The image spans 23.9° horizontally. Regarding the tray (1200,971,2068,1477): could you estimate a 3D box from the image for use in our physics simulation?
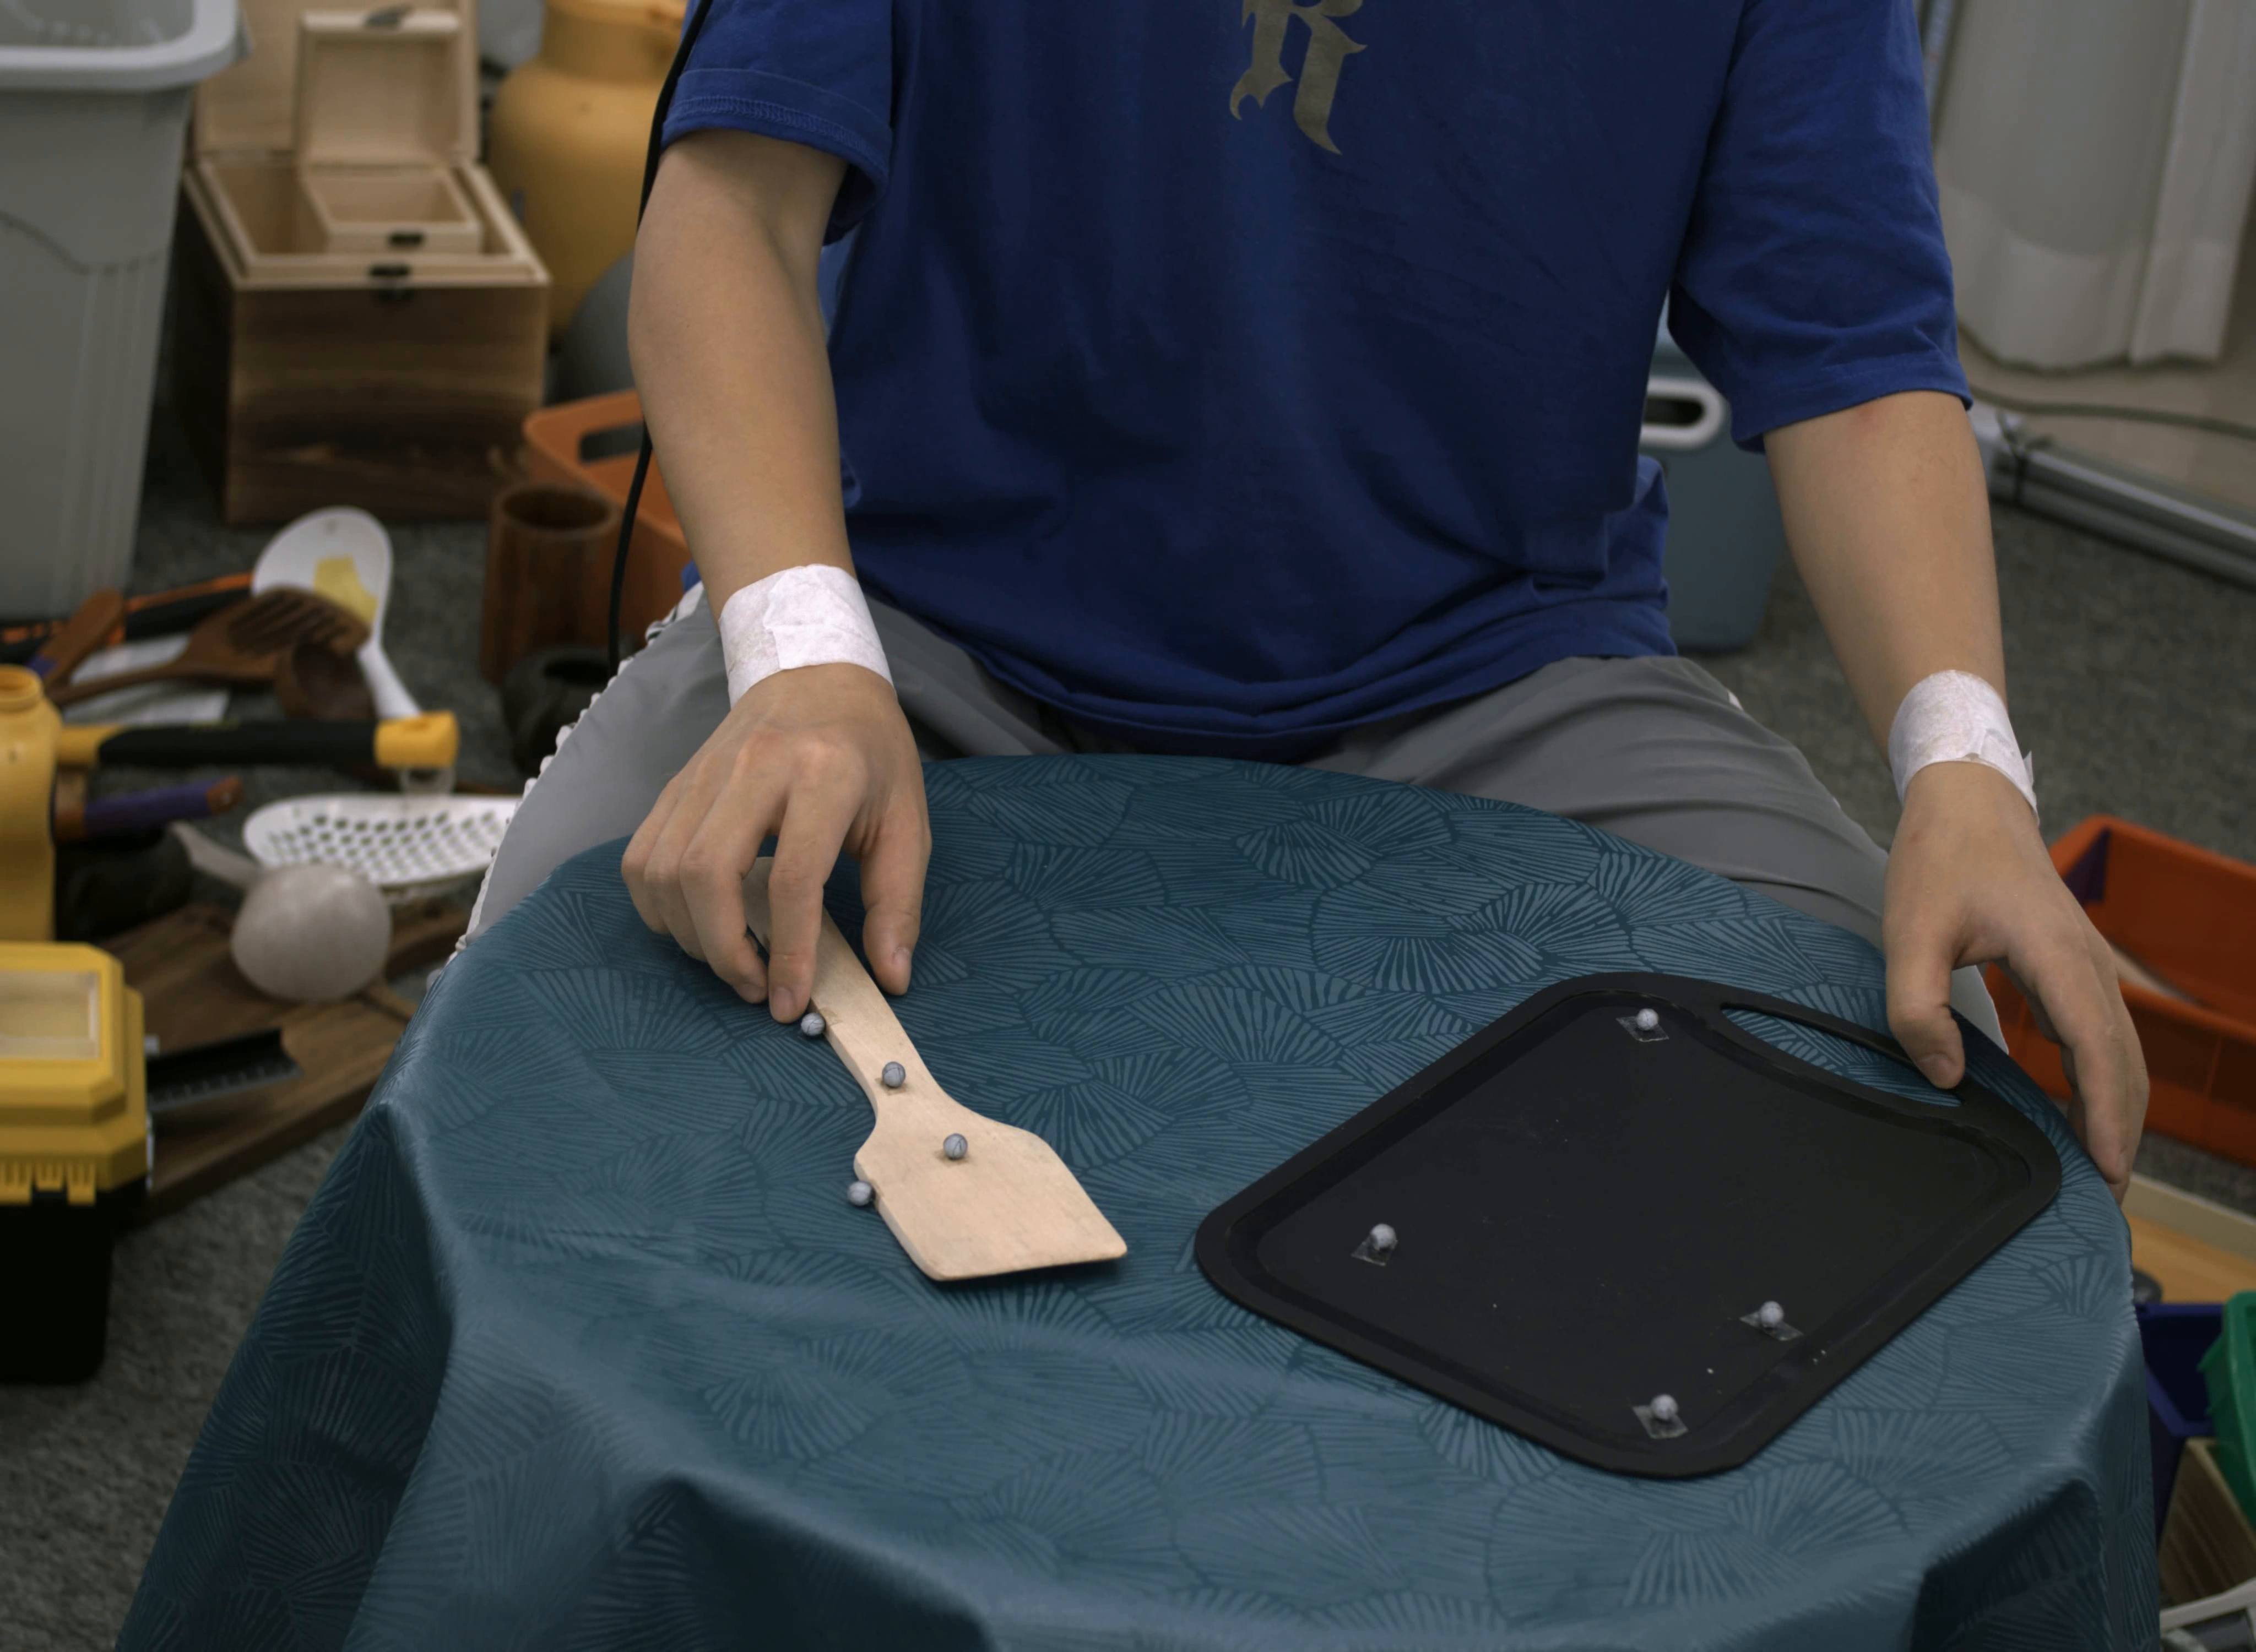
[{"bbox_3d":[0.182,0.126,1.833,0.212,0.010,0.324,23,31,29],"label":"tray"}]

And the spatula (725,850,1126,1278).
[{"bbox_3d":[-0.086,0.079,1.862,0.072,0.010,0.296,-7,30,-21],"label":"spatula"}]
